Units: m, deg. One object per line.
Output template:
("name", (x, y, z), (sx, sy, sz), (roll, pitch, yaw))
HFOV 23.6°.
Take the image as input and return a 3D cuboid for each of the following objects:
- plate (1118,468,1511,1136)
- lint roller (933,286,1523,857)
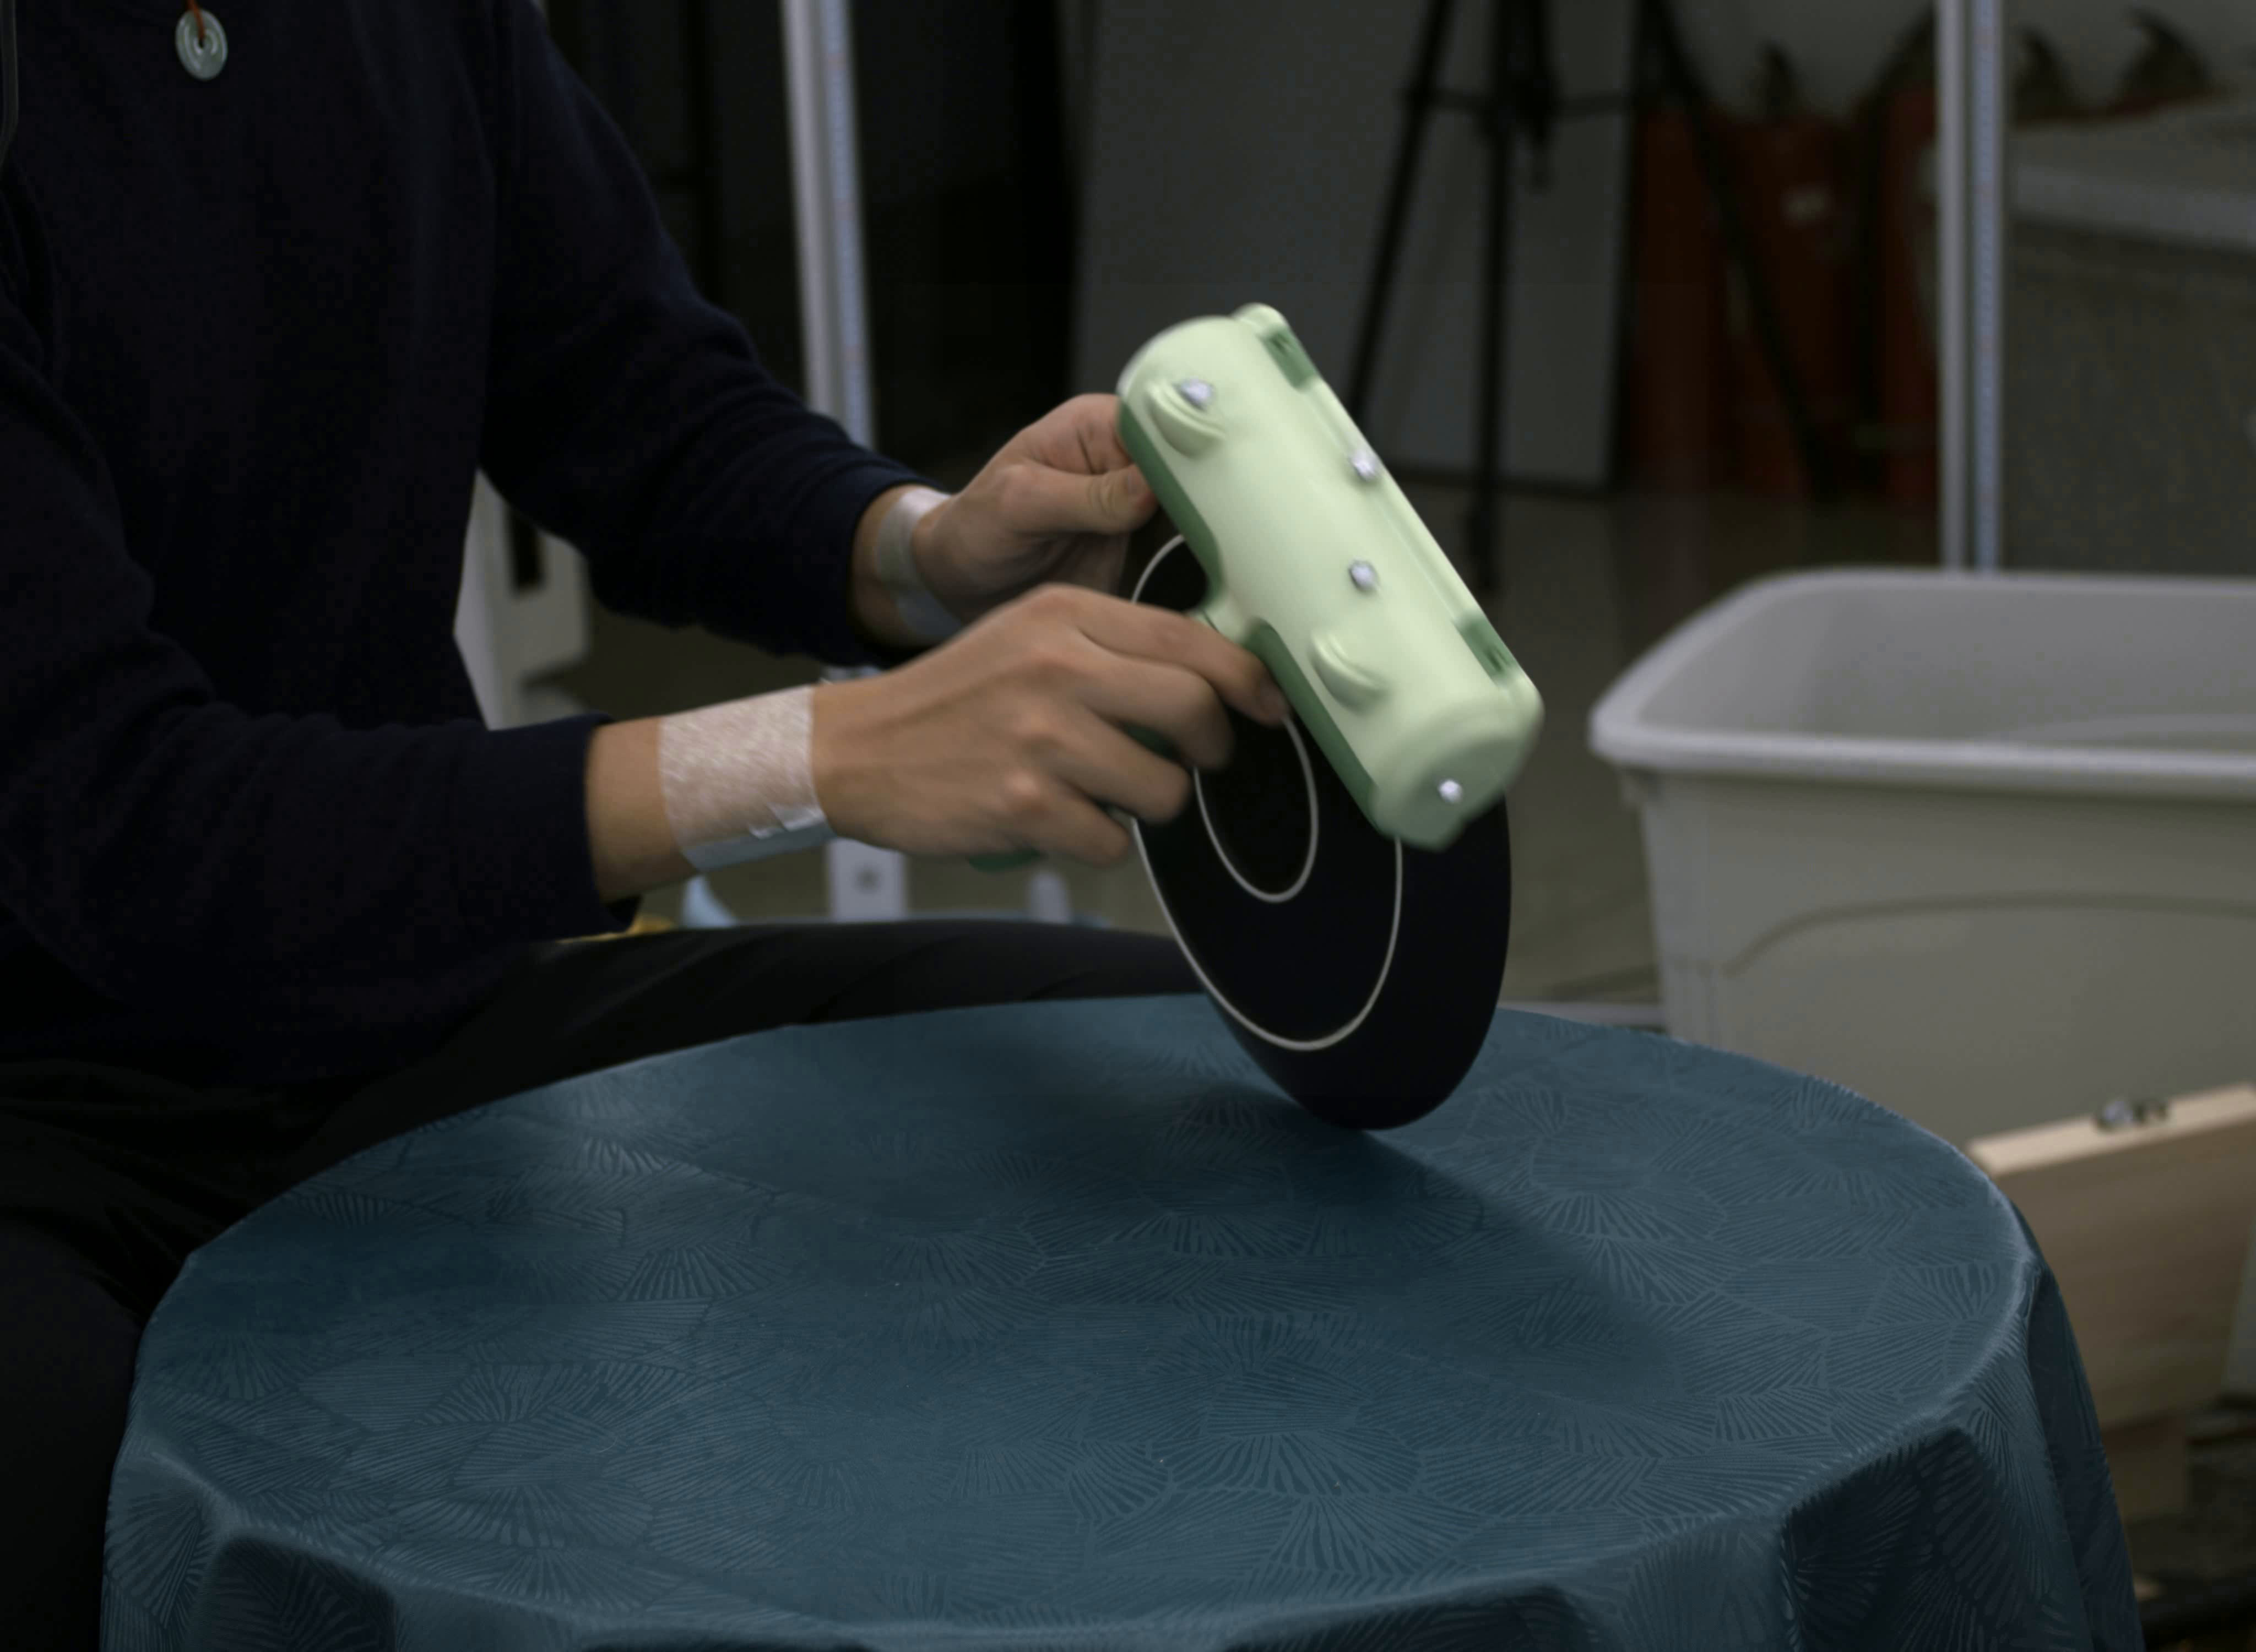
("plate", (0.051, -0.015, 1.795), (0.023, 0.247, 0.247), (-12, 16, -28))
("lint roller", (0.005, -0.060, 1.700), (0.182, 0.081, 0.201), (-34, 54, 1))
